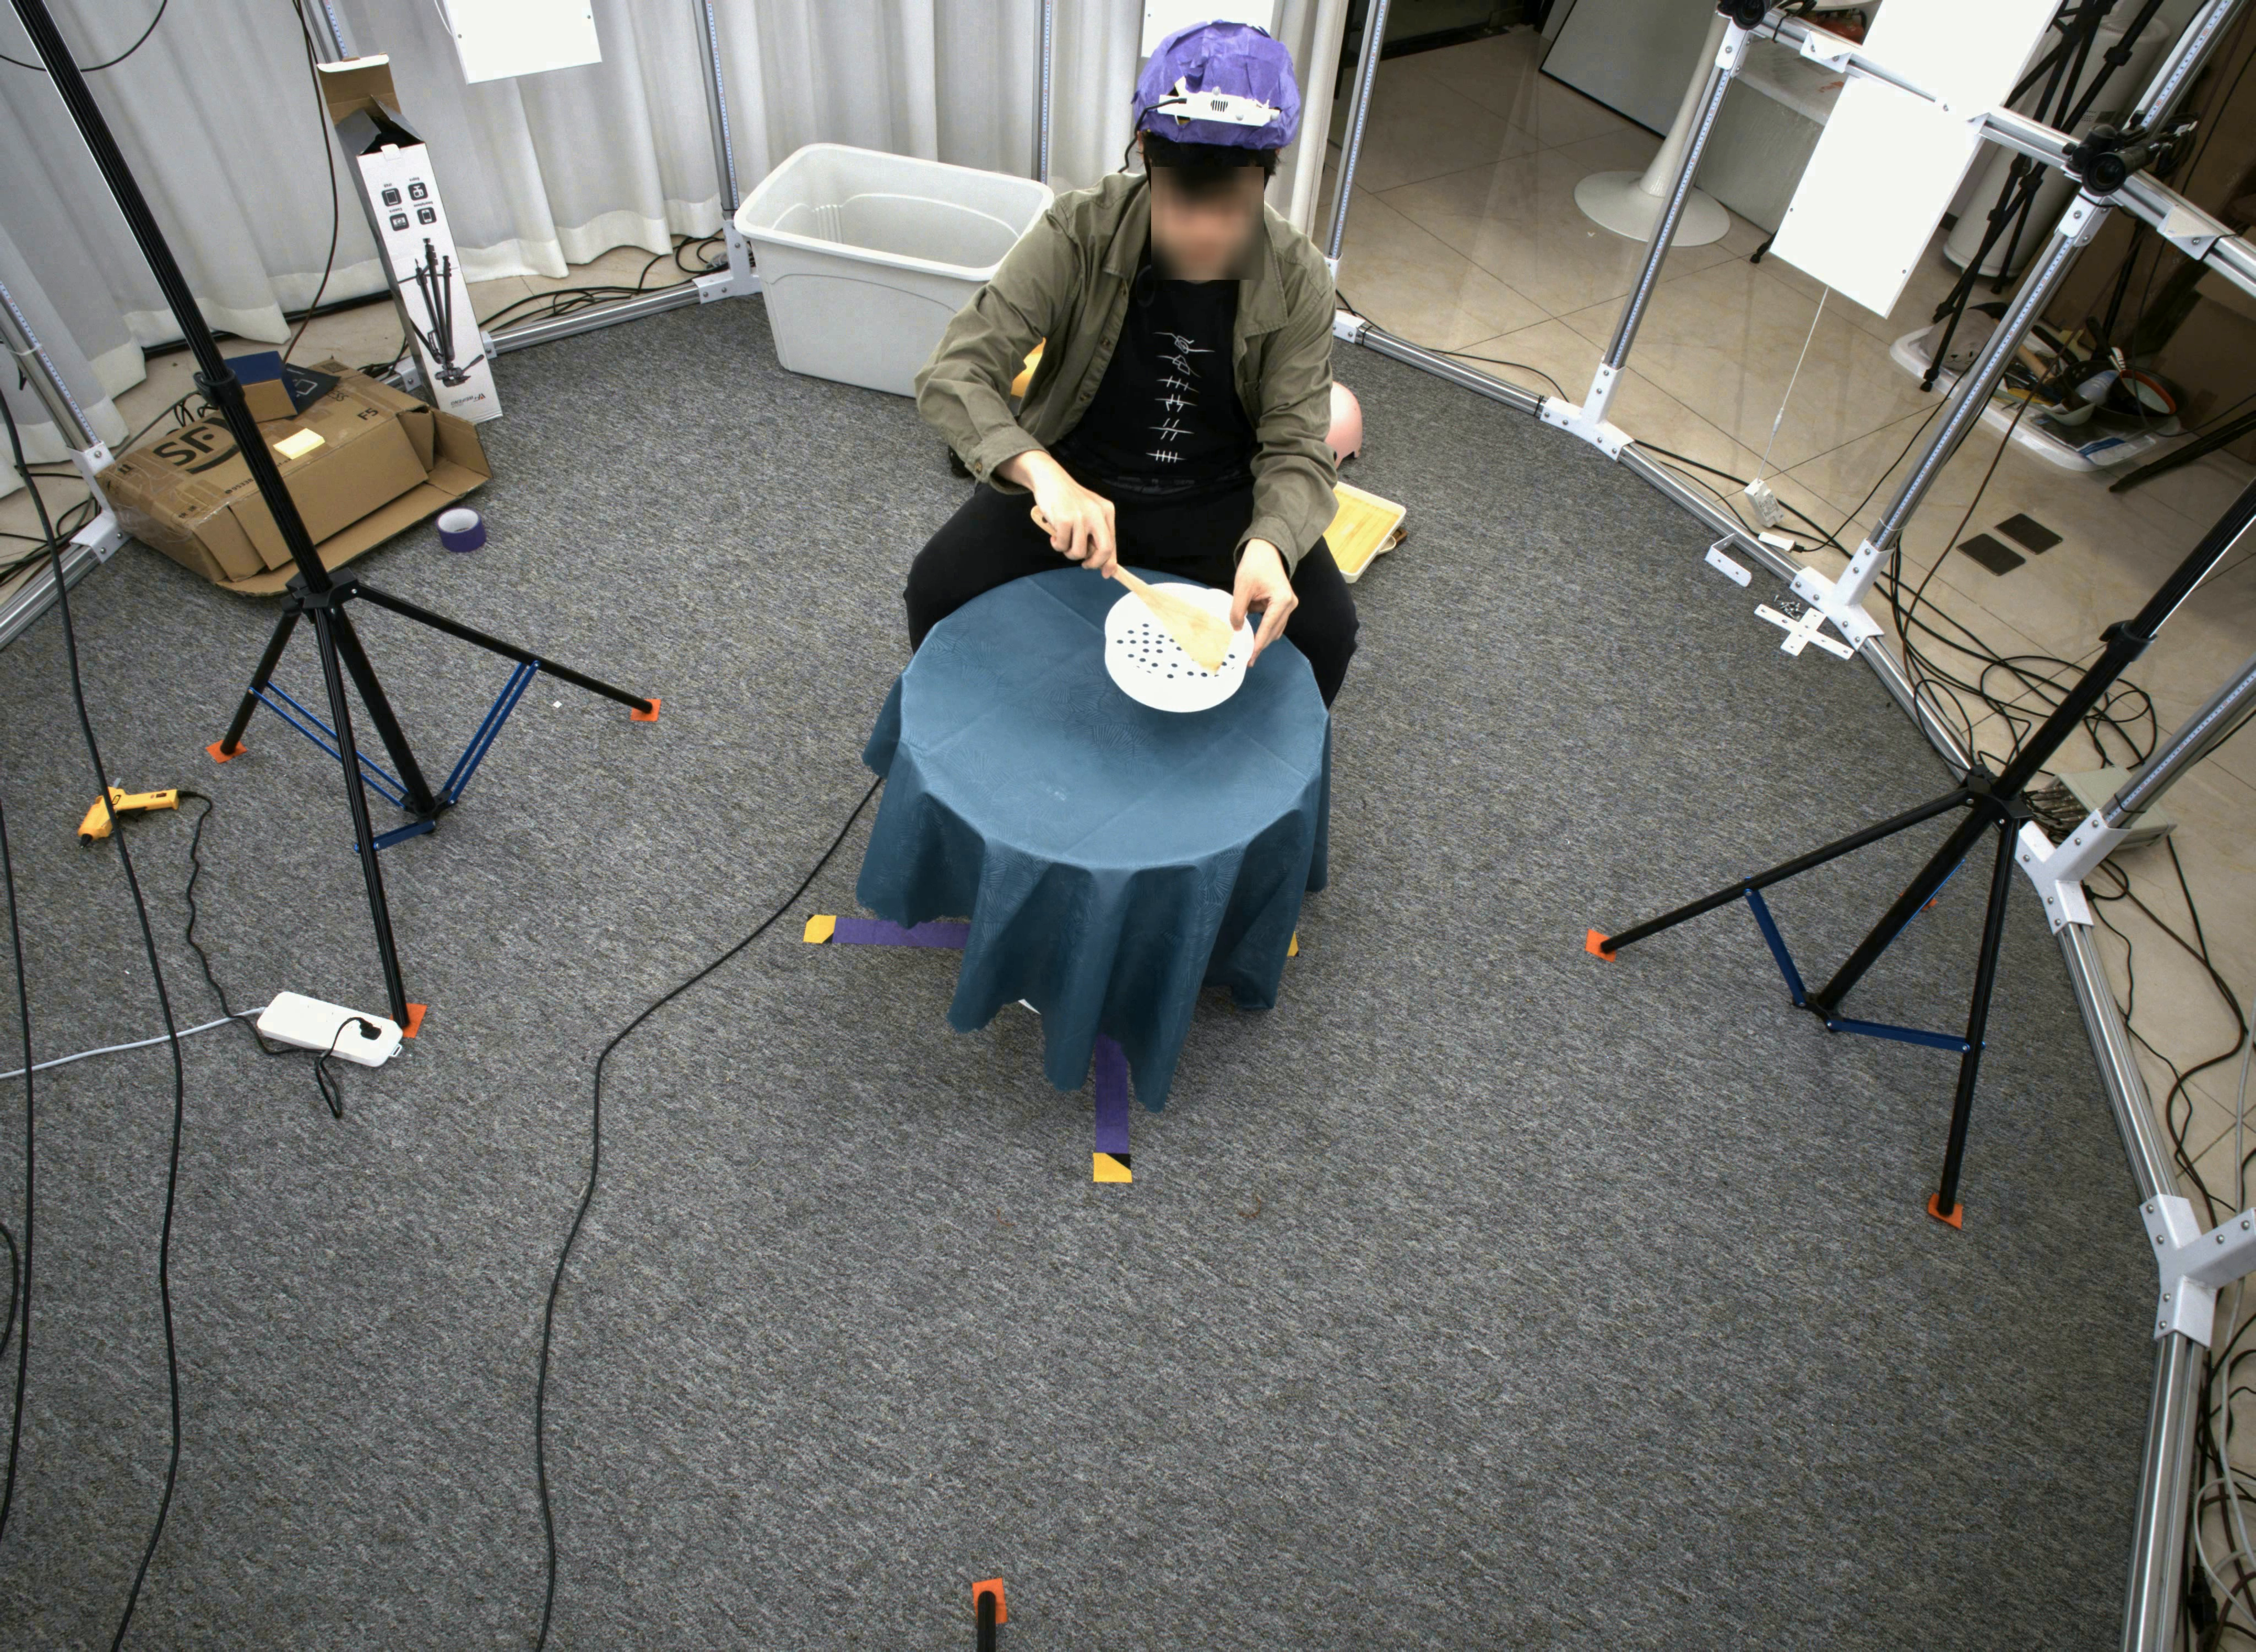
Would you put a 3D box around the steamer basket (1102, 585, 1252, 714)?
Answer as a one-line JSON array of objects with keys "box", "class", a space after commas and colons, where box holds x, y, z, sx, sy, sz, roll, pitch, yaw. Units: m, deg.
[{"box": [0.063, -0.238, 1.739, 0.205, 0.067, 0.233, 38, 53, 23], "class": "steamer basket"}]

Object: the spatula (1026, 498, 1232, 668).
[{"box": [0.000, -0.331, 1.698, 0.328, 0.078, 0.017, 36, 40, 1], "class": "spatula"}]
